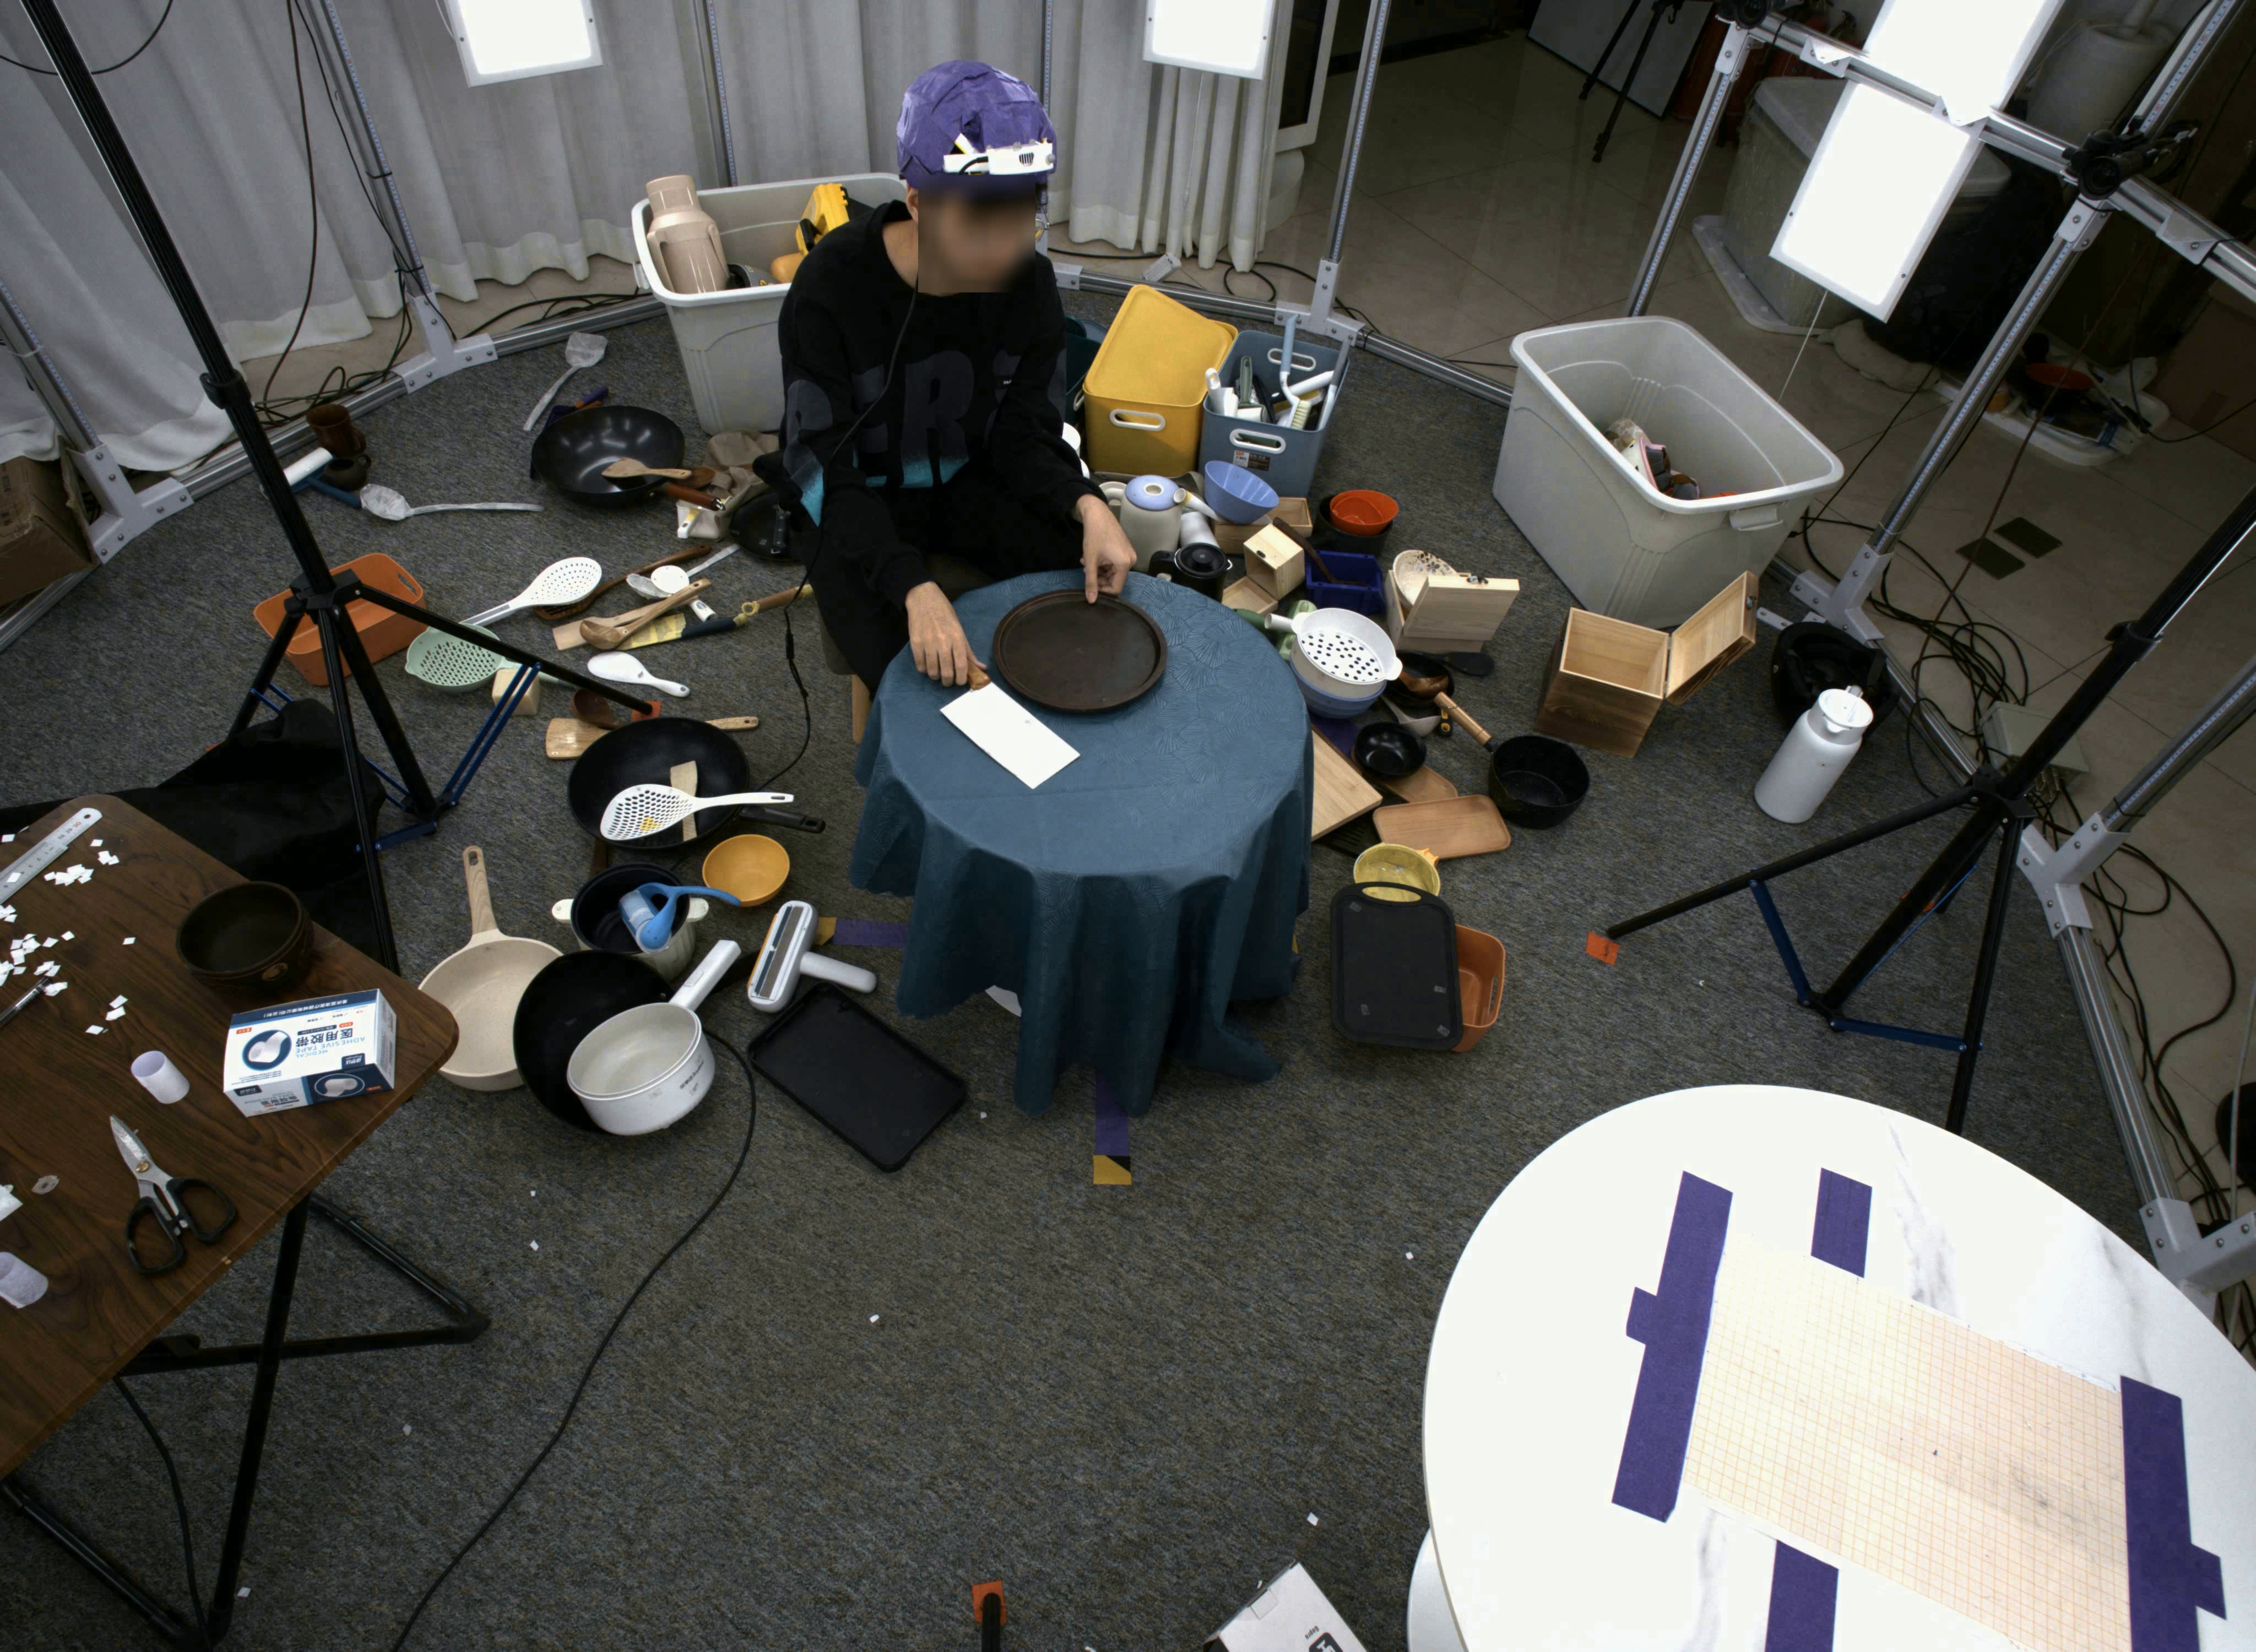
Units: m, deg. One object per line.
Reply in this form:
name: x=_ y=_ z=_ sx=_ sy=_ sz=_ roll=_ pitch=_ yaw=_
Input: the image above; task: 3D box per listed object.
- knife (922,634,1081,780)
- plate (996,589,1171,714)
knife: x=-0.198 y=-0.164 z=1.788 sx=0.094 sy=0.020 sz=0.310 roll=-36 pitch=62 yaw=-27
plate: x=-0.064 y=-0.255 z=1.869 sx=0.254 sy=0.028 sz=0.261 roll=3 pitch=48 yaw=-3
